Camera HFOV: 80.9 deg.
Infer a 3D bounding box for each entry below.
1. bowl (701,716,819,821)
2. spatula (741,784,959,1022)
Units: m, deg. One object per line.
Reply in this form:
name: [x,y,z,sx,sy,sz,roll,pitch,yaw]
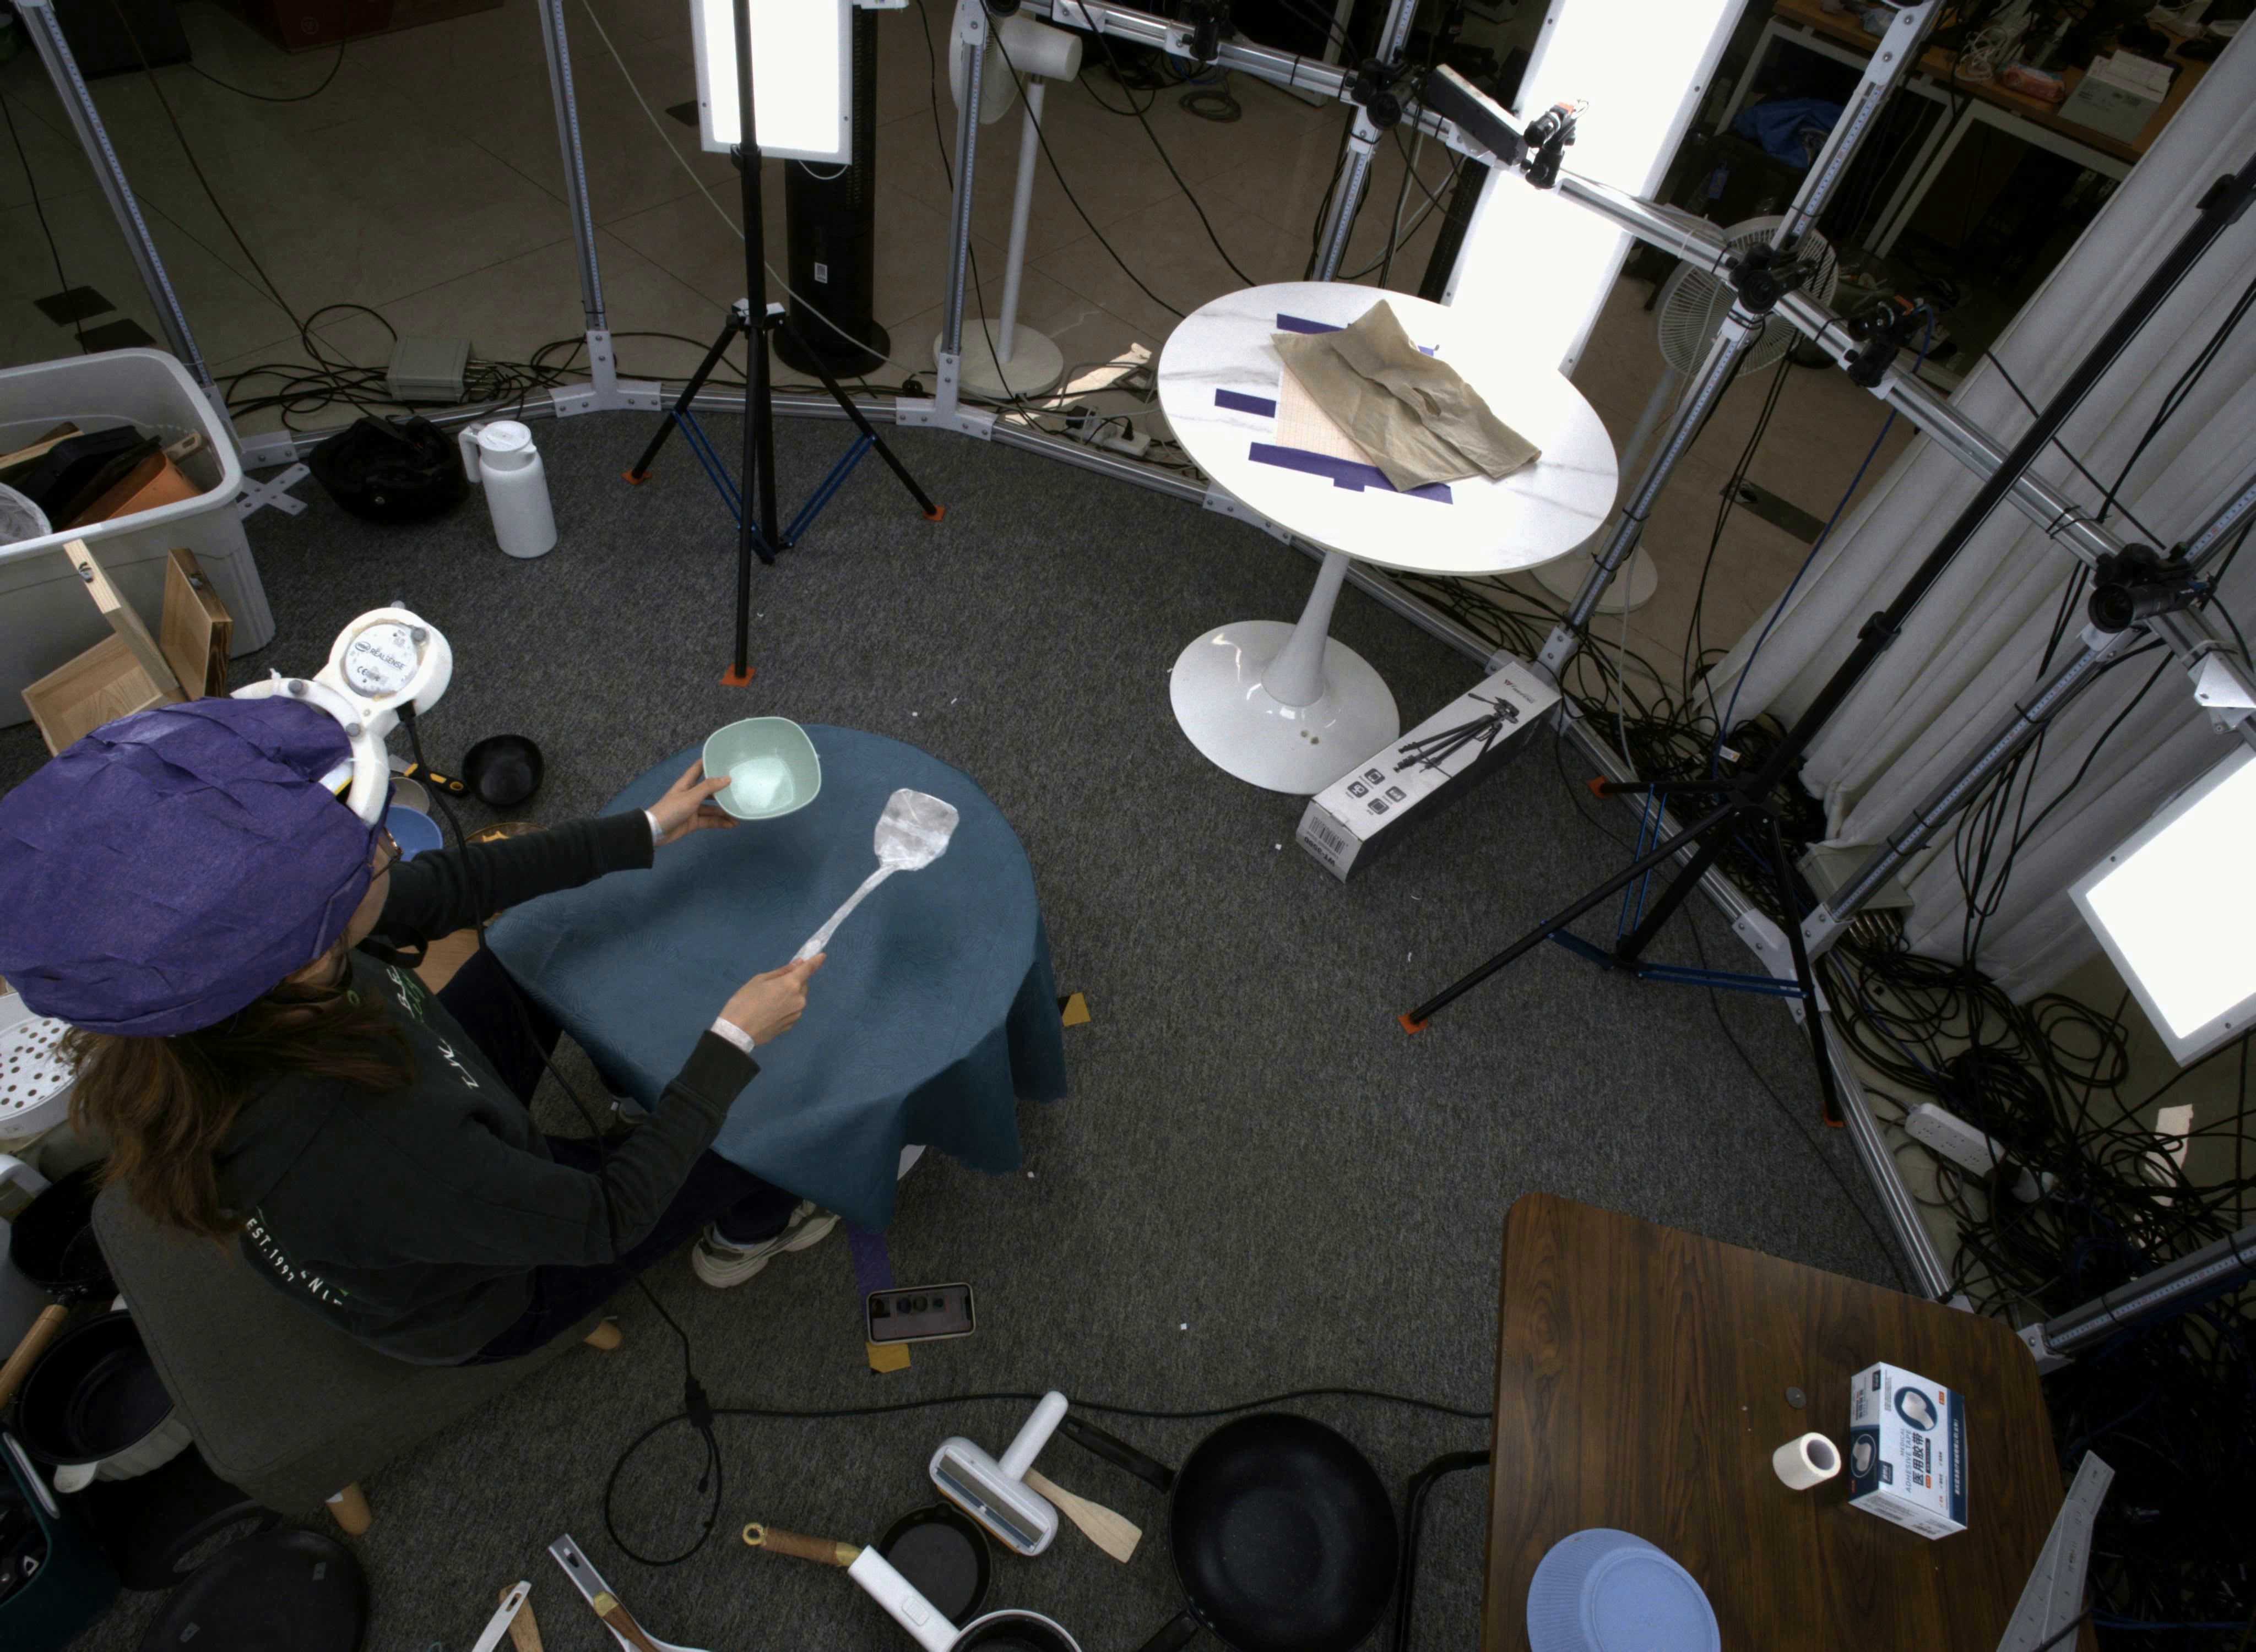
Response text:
bowl: [-0.462,-0.062,1.623,0.152,0.059,0.149,9,61,-14]
spatula: [-0.326,0.086,1.504,0.096,0.046,0.363,25,50,16]
